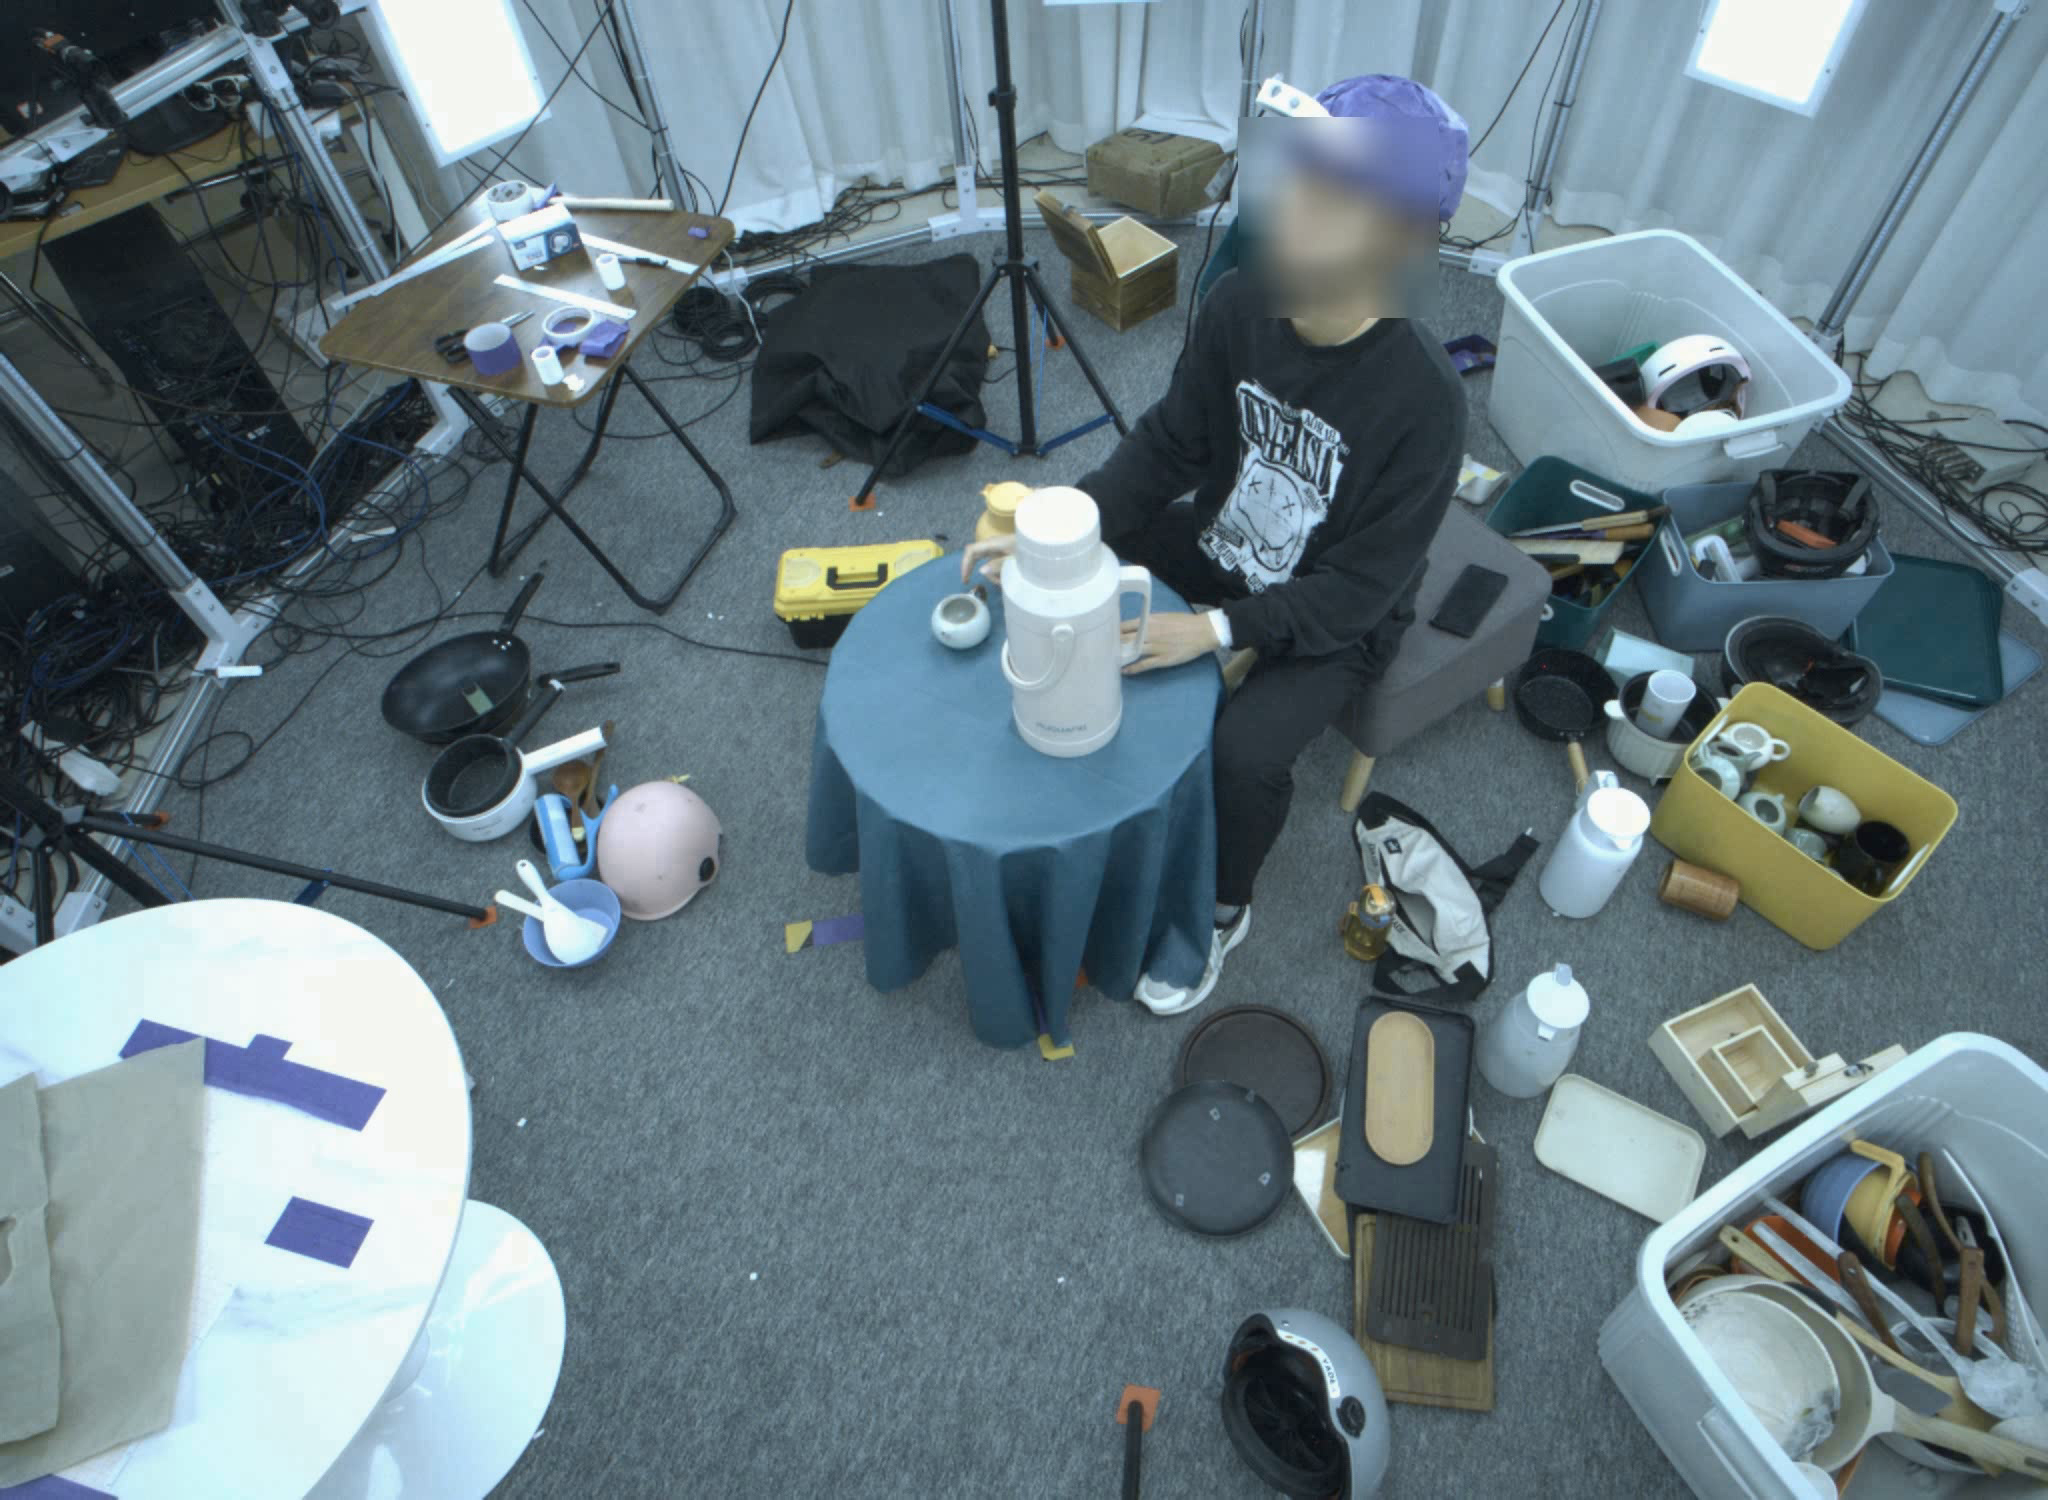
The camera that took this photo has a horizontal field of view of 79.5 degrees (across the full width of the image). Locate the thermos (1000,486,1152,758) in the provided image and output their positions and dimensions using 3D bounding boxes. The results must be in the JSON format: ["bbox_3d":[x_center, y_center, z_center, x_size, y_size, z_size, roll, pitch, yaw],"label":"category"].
[{"bbox_3d":[0.067,-0.169,1.657,0.207,0.411,0.173,-4,53,2],"label":"thermos"}]

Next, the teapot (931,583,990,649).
[{"bbox_3d":[-0.094,-0.205,1.897,0.090,0.060,0.128,18,58,18],"label":"teapot"}]
